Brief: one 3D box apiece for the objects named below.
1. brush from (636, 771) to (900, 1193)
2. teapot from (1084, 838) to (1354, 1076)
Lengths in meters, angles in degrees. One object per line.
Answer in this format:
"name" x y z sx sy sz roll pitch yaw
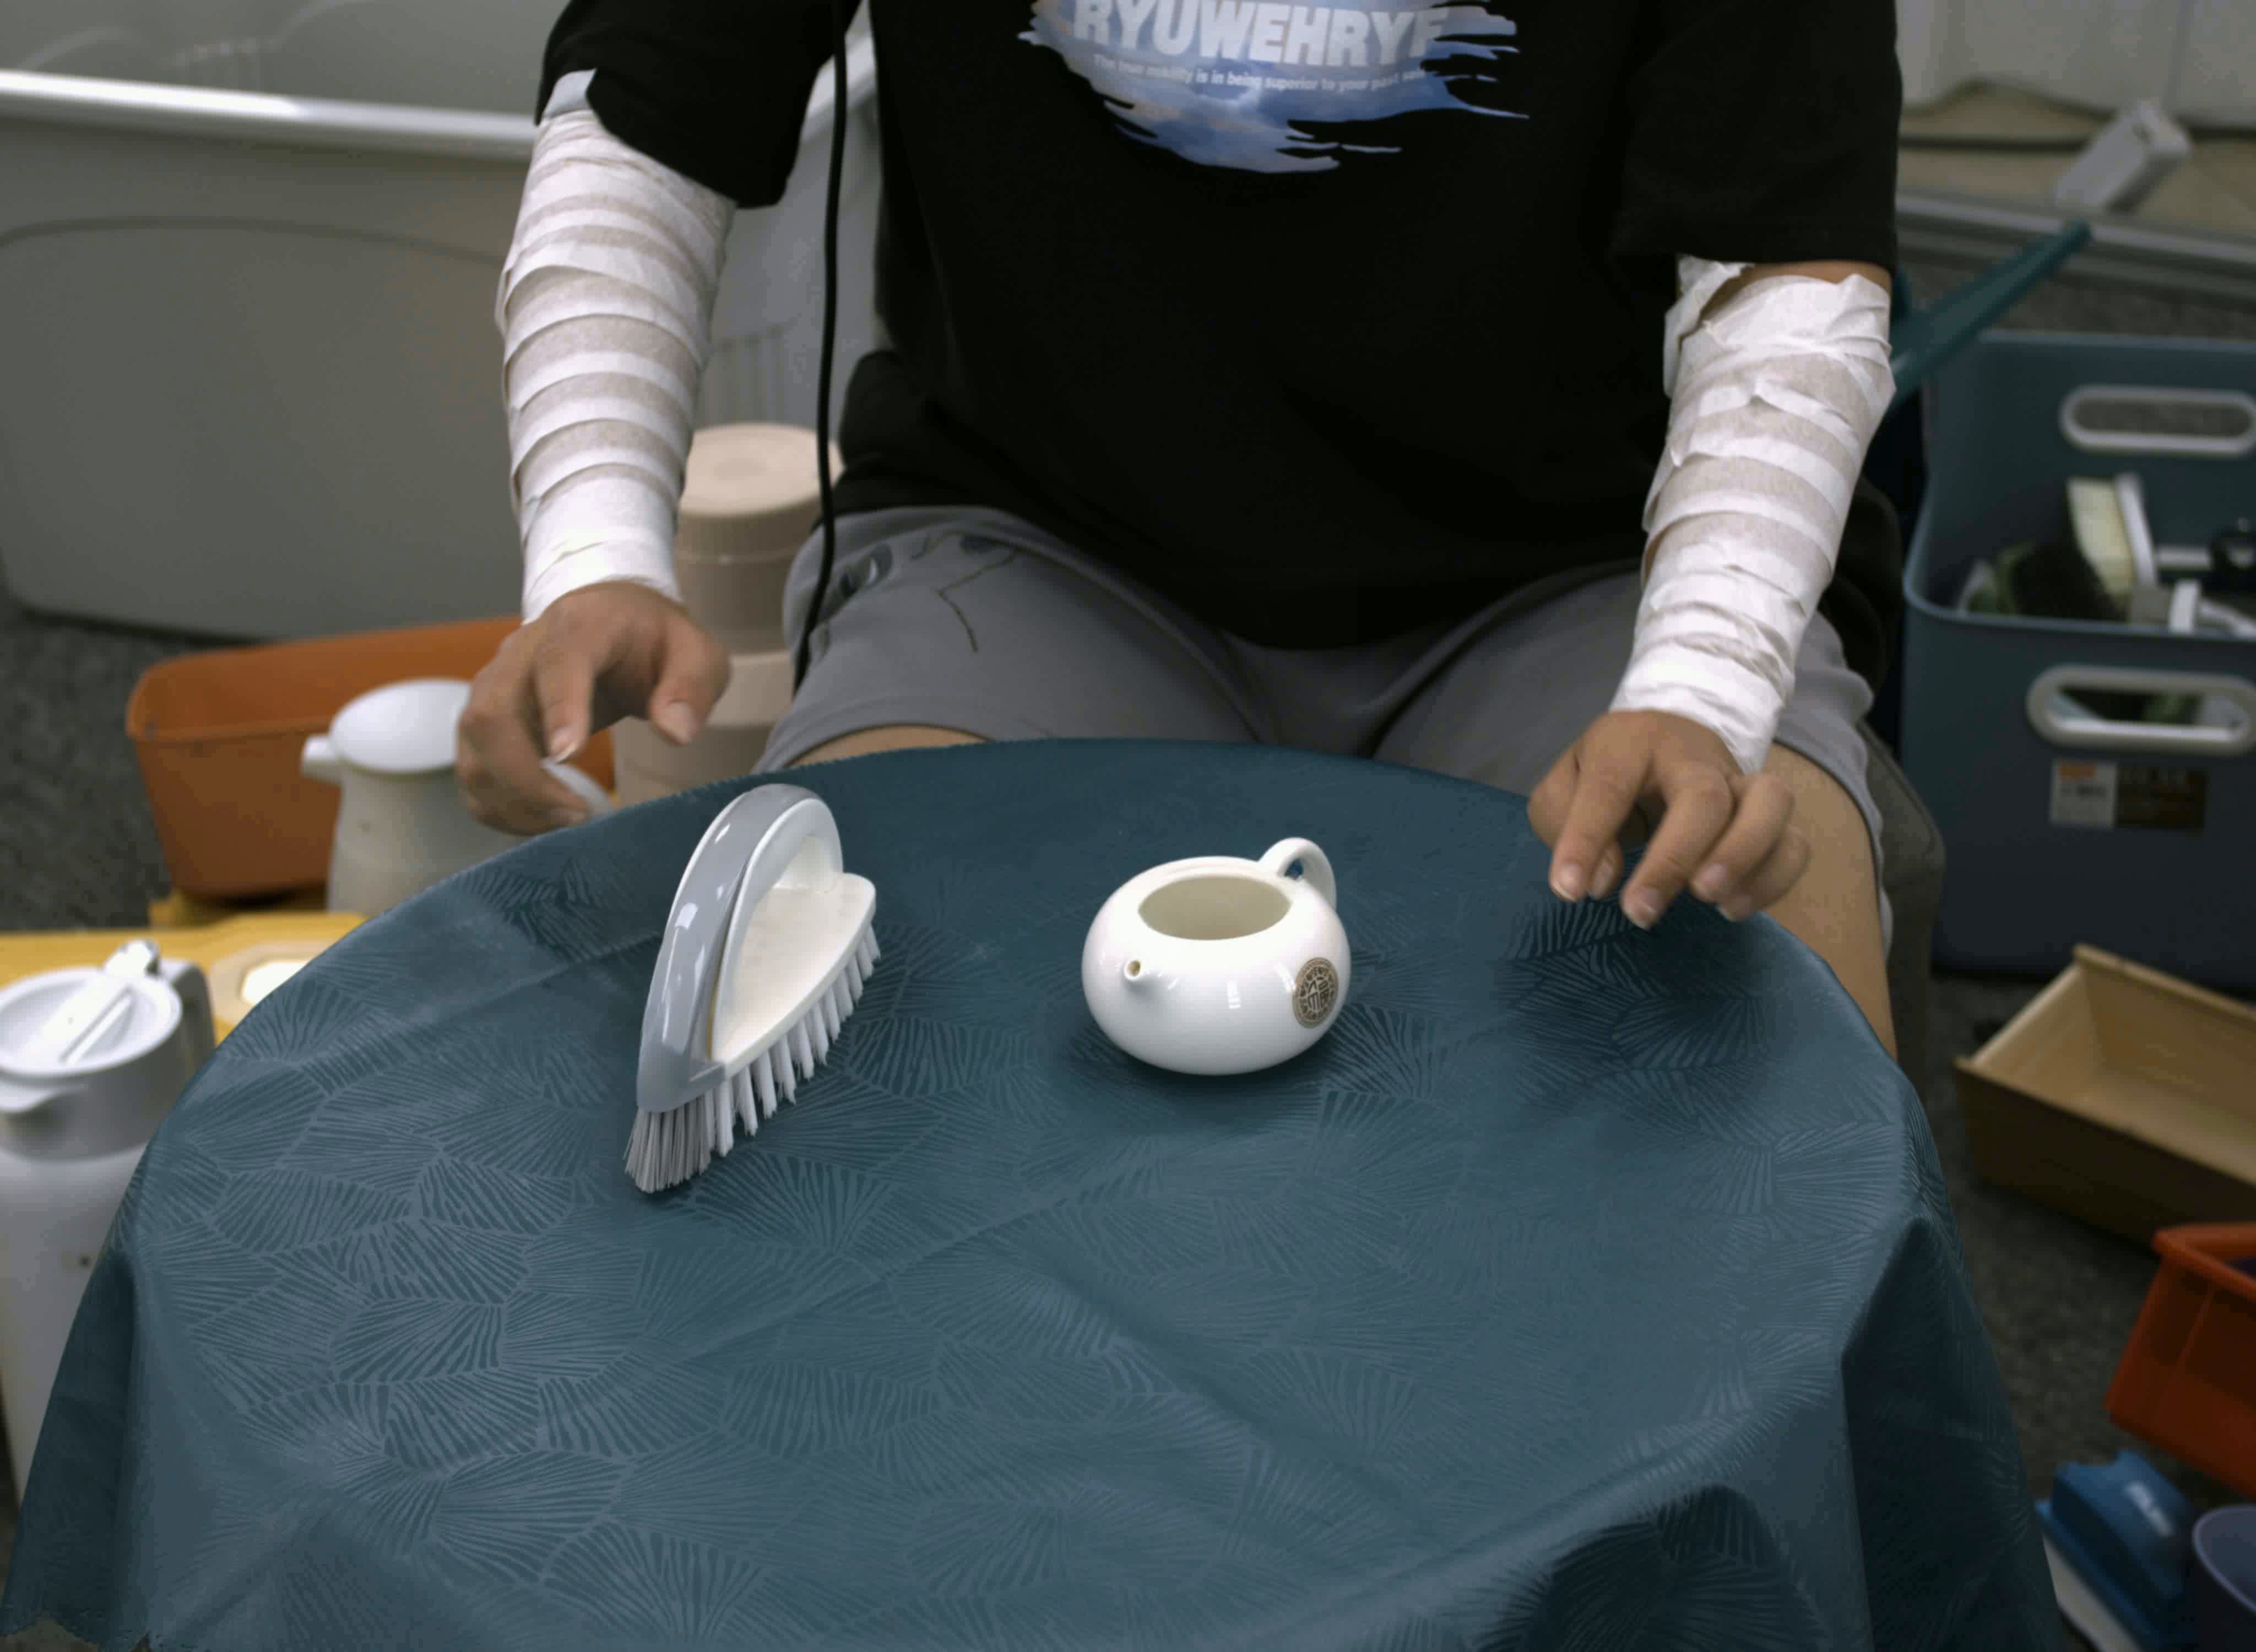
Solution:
"brush" -0.132 0.046 1.923 0.061 0.093 0.178 3 29 18
"teapot" 0.037 0.045 1.949 0.093 0.056 0.129 8 28 29
